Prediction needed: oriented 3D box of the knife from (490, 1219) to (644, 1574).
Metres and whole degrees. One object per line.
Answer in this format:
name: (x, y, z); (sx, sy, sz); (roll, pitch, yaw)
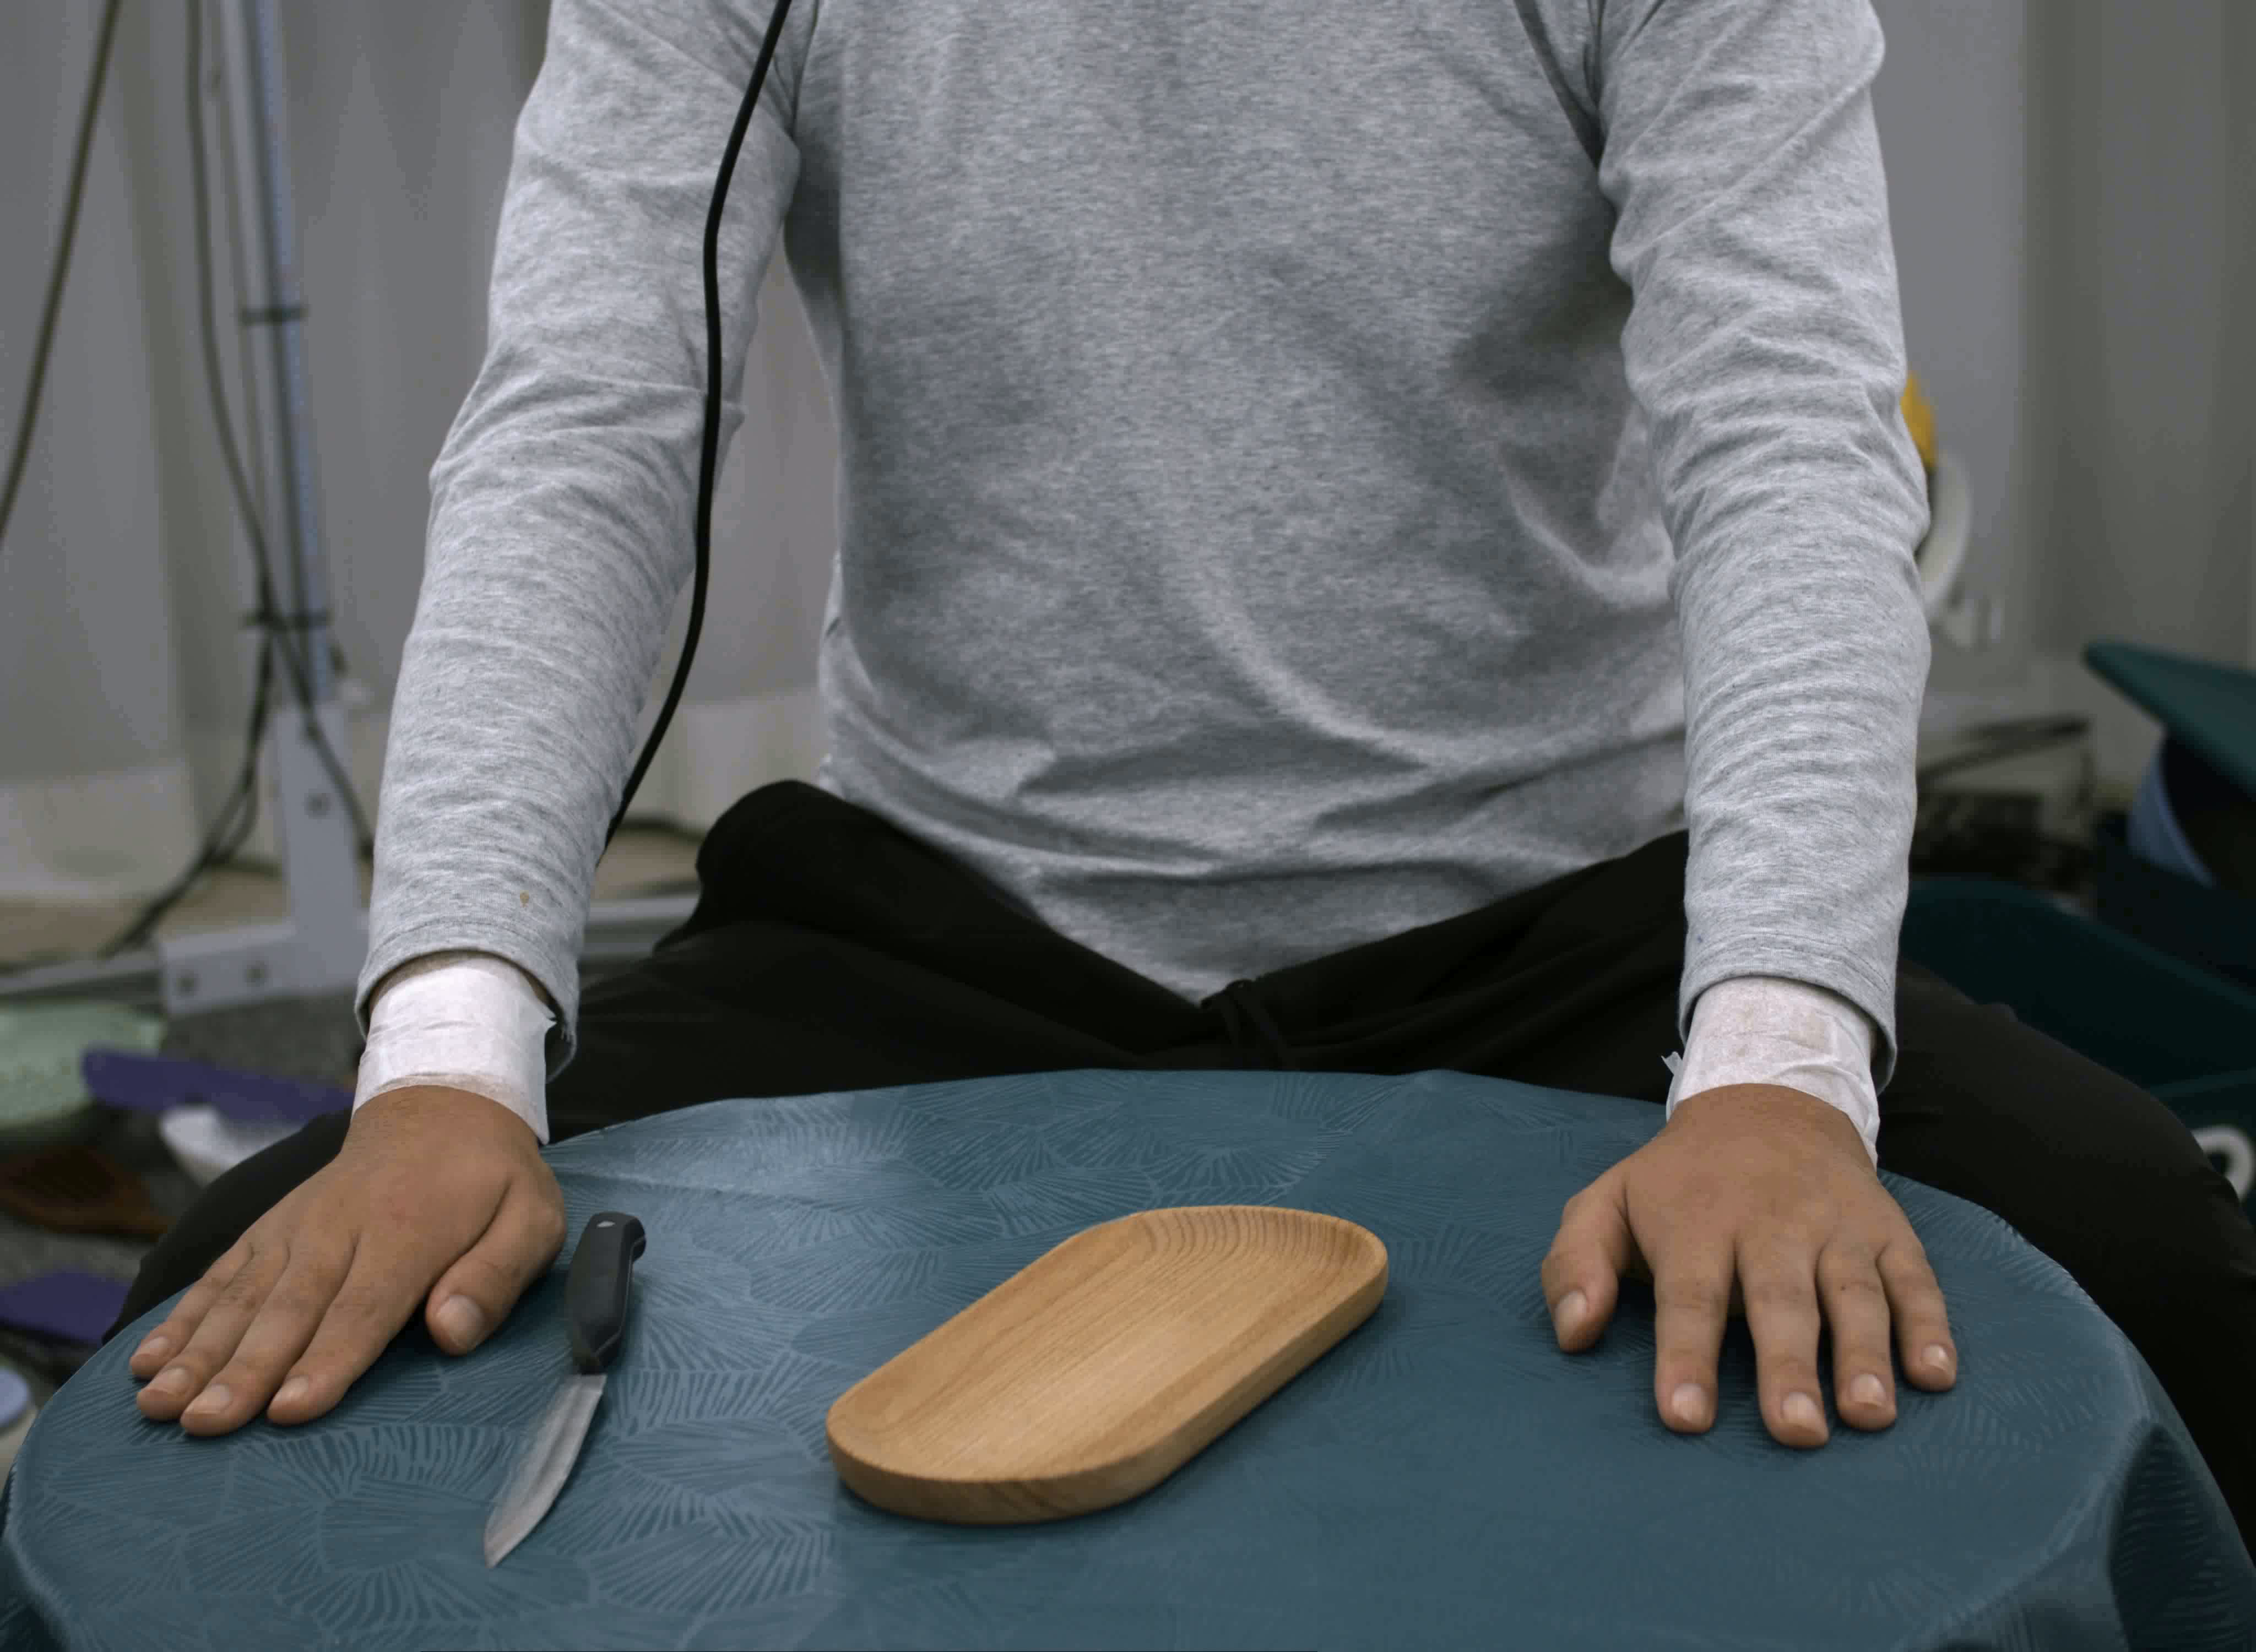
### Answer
knife: (-0.162, 0.161, 1.553); (0.024, 0.016, 0.240); (0, 17, 2)

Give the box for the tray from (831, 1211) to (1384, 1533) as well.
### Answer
tray: (-0.002, 0.152, 1.547); (0.102, 0.020, 0.232); (3, 17, 25)
